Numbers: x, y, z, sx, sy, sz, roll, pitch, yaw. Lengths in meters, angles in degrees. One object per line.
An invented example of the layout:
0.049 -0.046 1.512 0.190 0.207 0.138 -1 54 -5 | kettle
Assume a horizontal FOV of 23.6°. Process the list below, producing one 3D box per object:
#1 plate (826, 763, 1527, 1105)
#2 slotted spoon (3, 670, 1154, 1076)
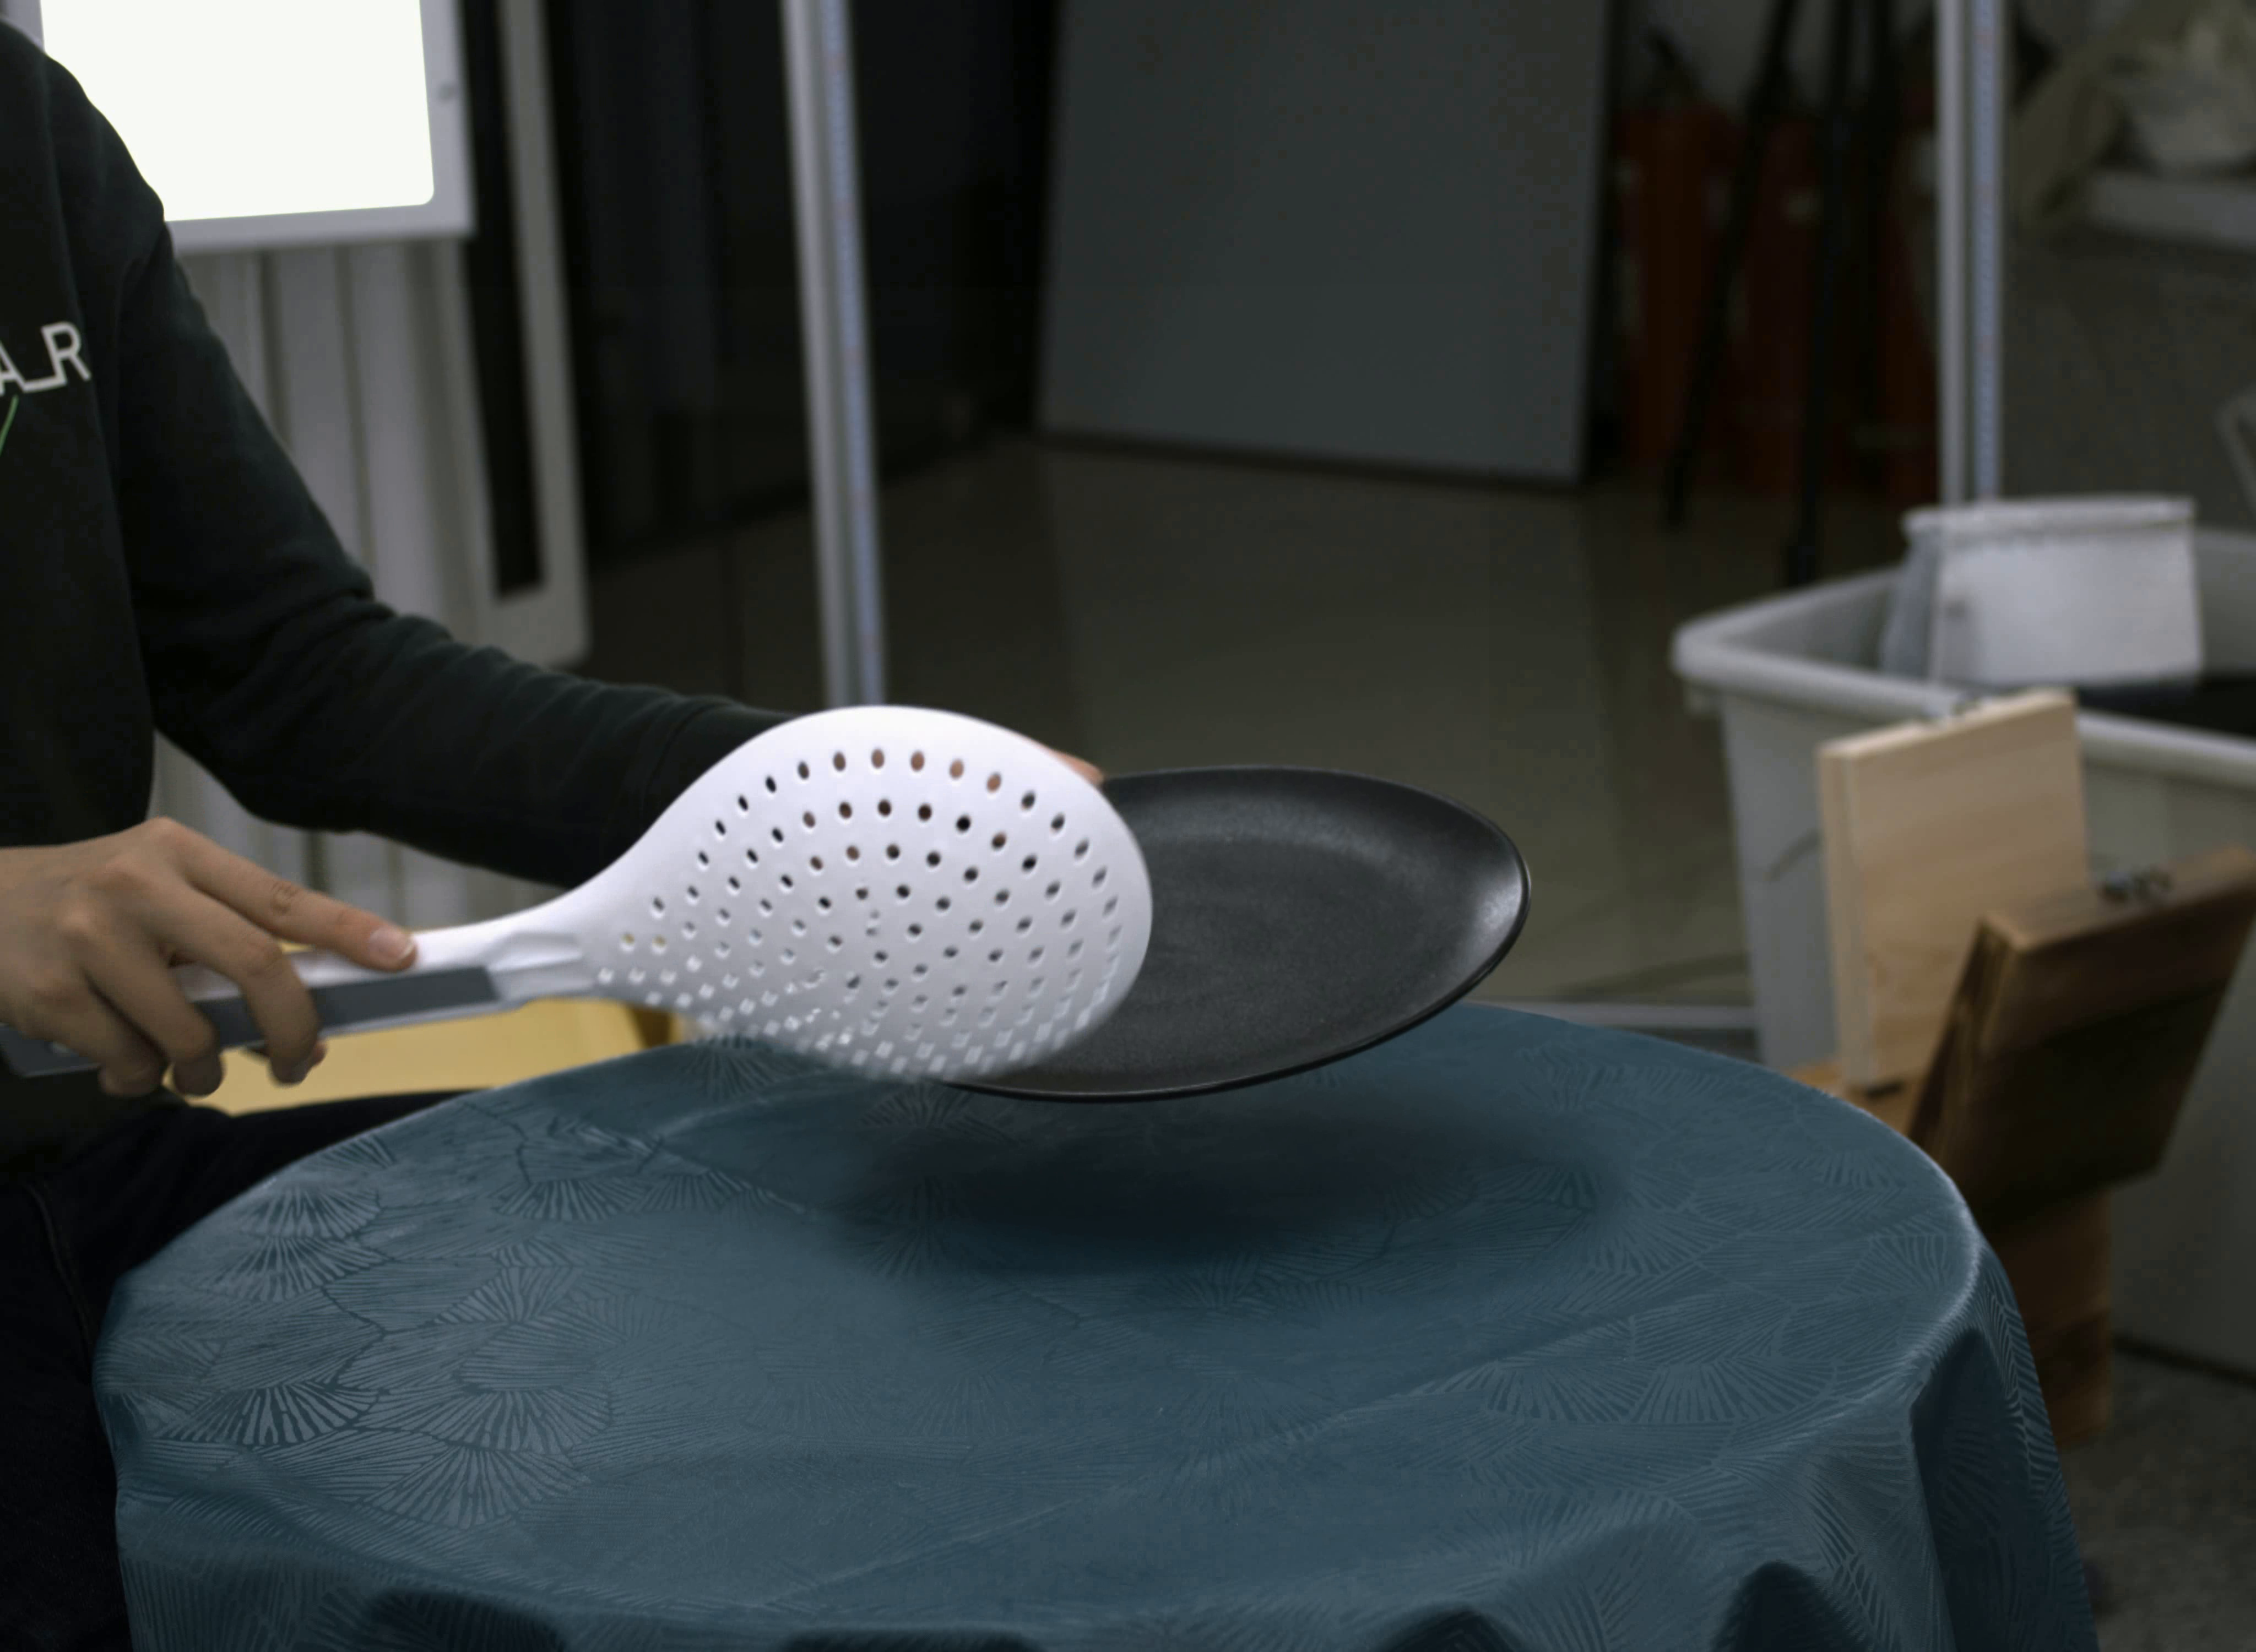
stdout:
0.014 0.040 1.793 0.241 0.023 0.245 -7 25 2 | plate
-0.161 0.032 1.533 0.349 0.136 0.046 -7 40 21 | slotted spoon
